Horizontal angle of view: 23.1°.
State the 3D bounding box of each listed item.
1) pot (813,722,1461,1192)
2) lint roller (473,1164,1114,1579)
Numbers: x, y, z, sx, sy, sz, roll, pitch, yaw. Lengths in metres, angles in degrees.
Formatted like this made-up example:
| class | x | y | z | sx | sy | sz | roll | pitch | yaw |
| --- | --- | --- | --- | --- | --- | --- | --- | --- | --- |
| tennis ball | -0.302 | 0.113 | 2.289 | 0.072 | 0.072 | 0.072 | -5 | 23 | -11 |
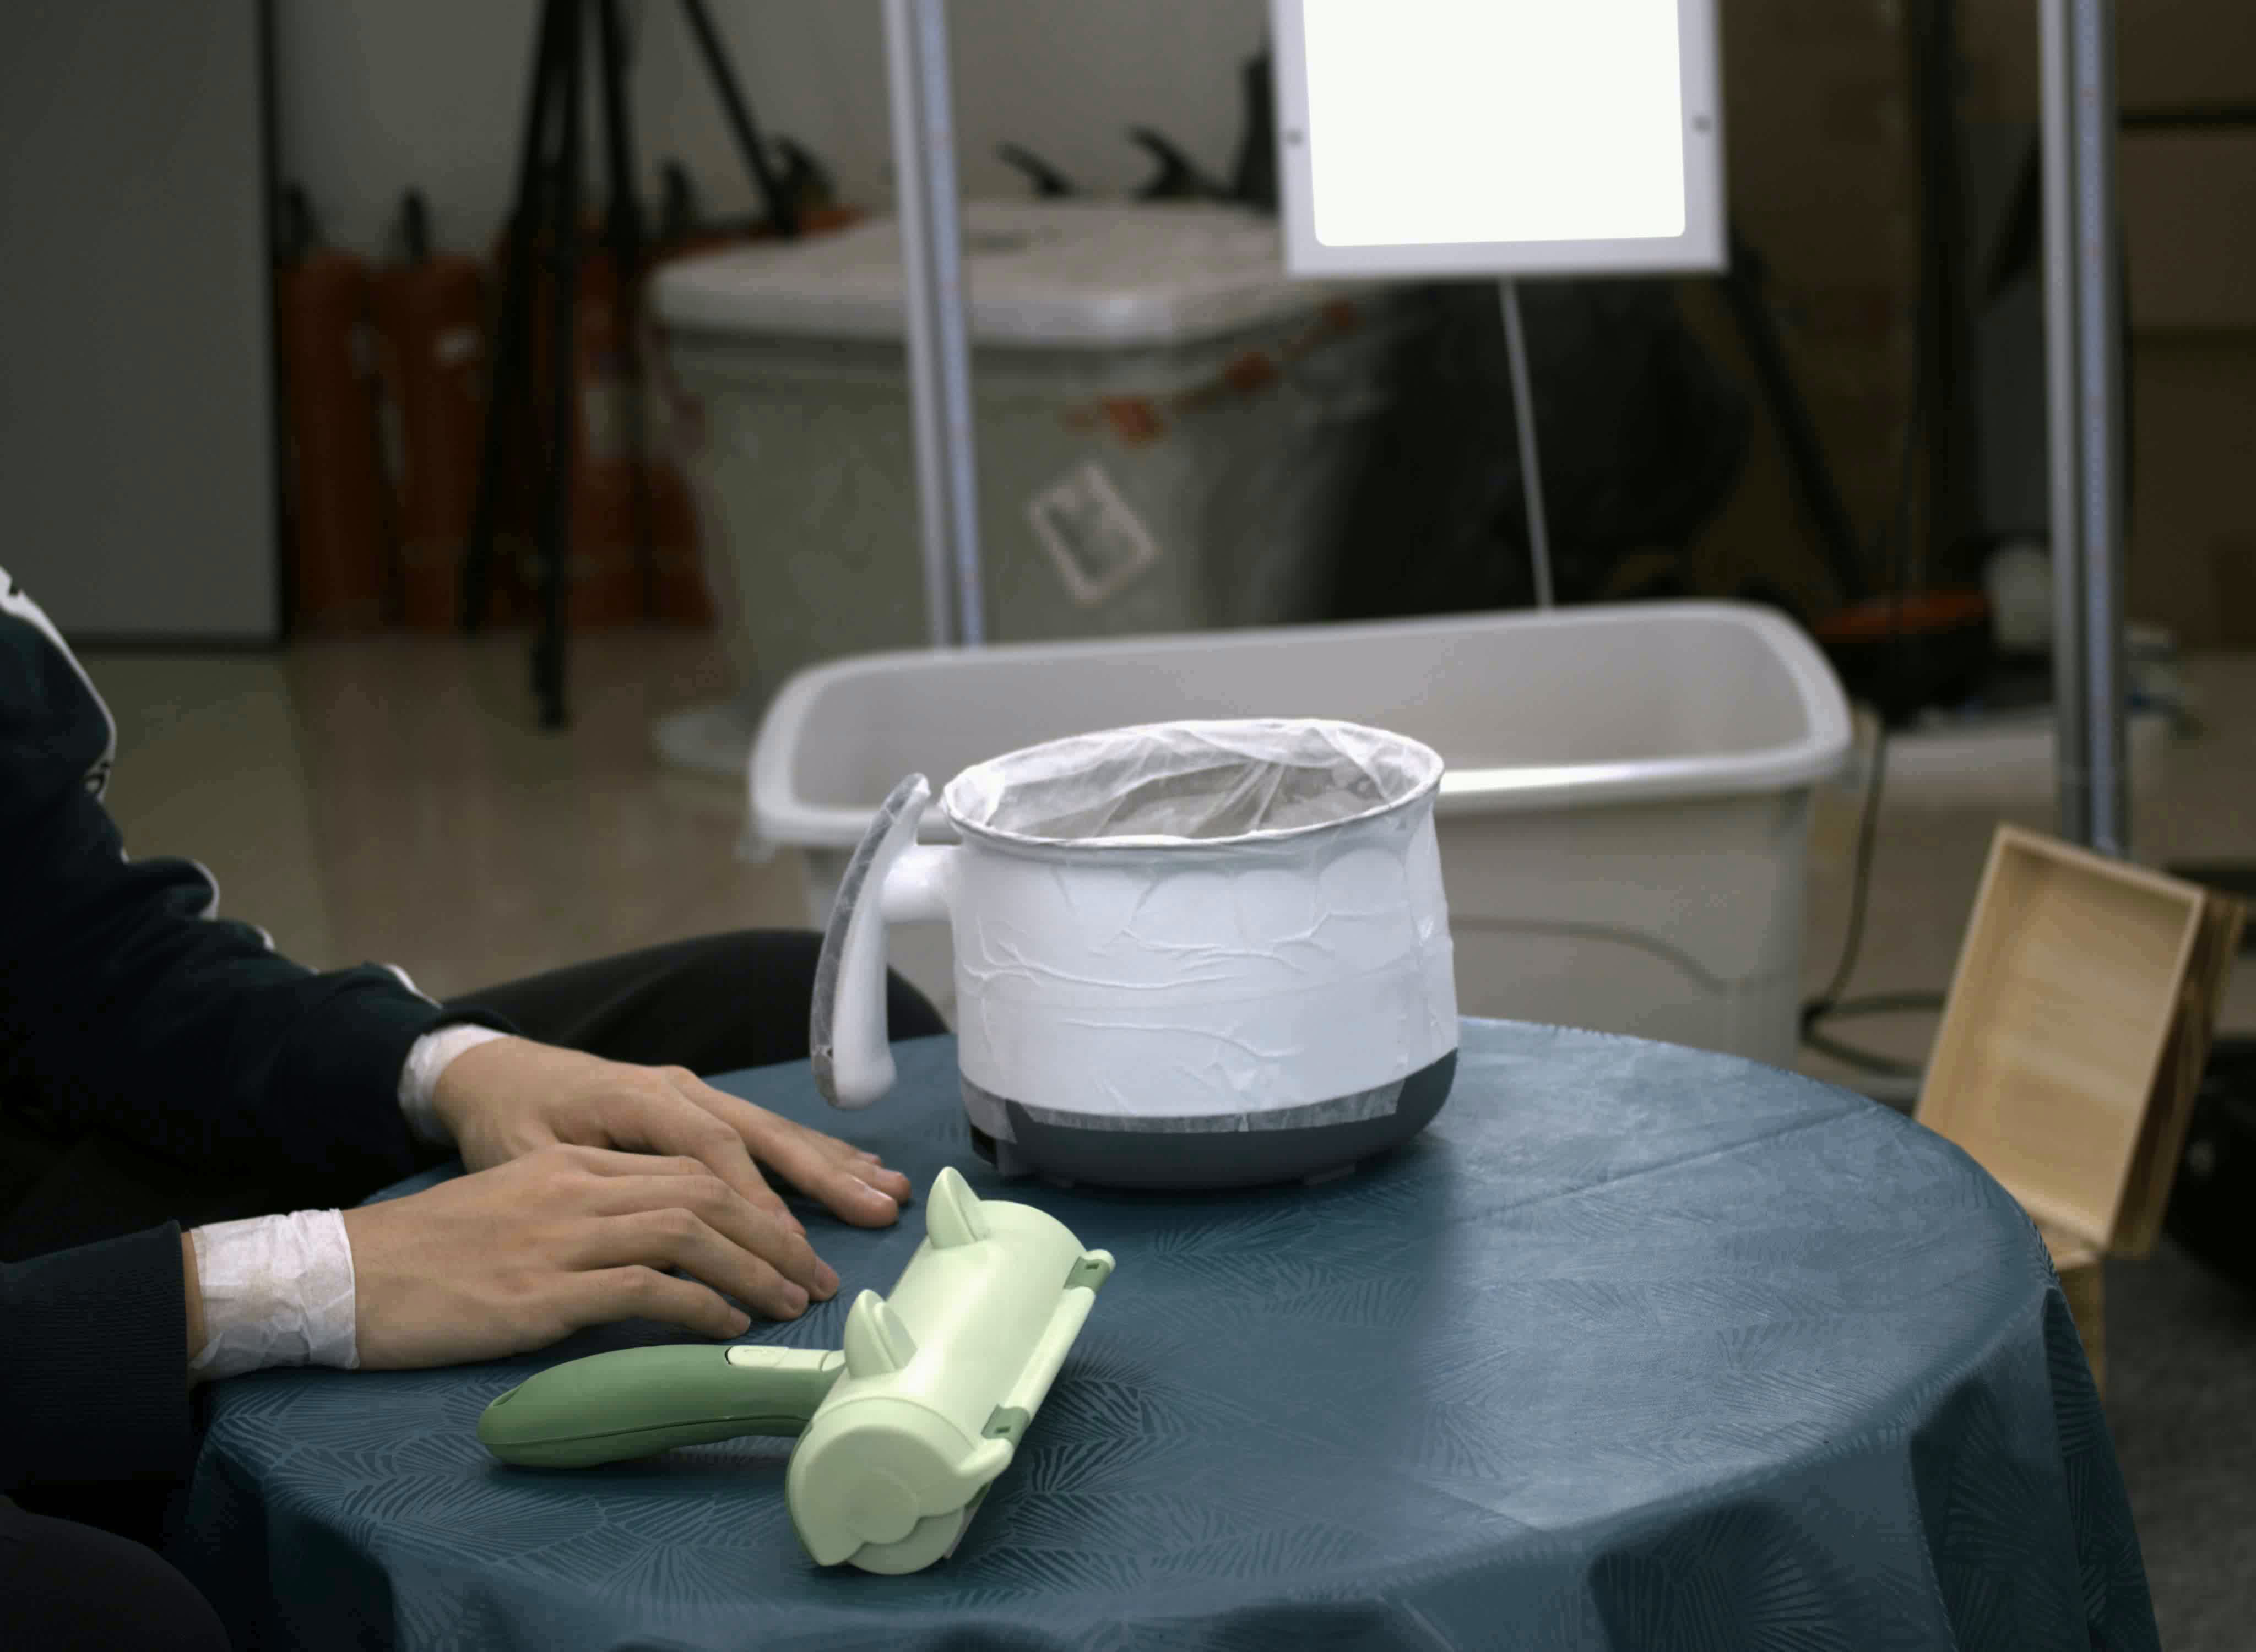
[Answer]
| class | x | y | z | sx | sy | sz | roll | pitch | yaw |
| --- | --- | --- | --- | --- | --- | --- | --- | --- | --- |
| pot | 0.000 | 0.046 | 1.935 | 0.235 | 0.137 | 0.176 | -2 | 14 | 12 |
| lint roller | -0.109 | 0.156 | 1.658 | 0.184 | 0.082 | 0.196 | 3 | 15 | 11 |
